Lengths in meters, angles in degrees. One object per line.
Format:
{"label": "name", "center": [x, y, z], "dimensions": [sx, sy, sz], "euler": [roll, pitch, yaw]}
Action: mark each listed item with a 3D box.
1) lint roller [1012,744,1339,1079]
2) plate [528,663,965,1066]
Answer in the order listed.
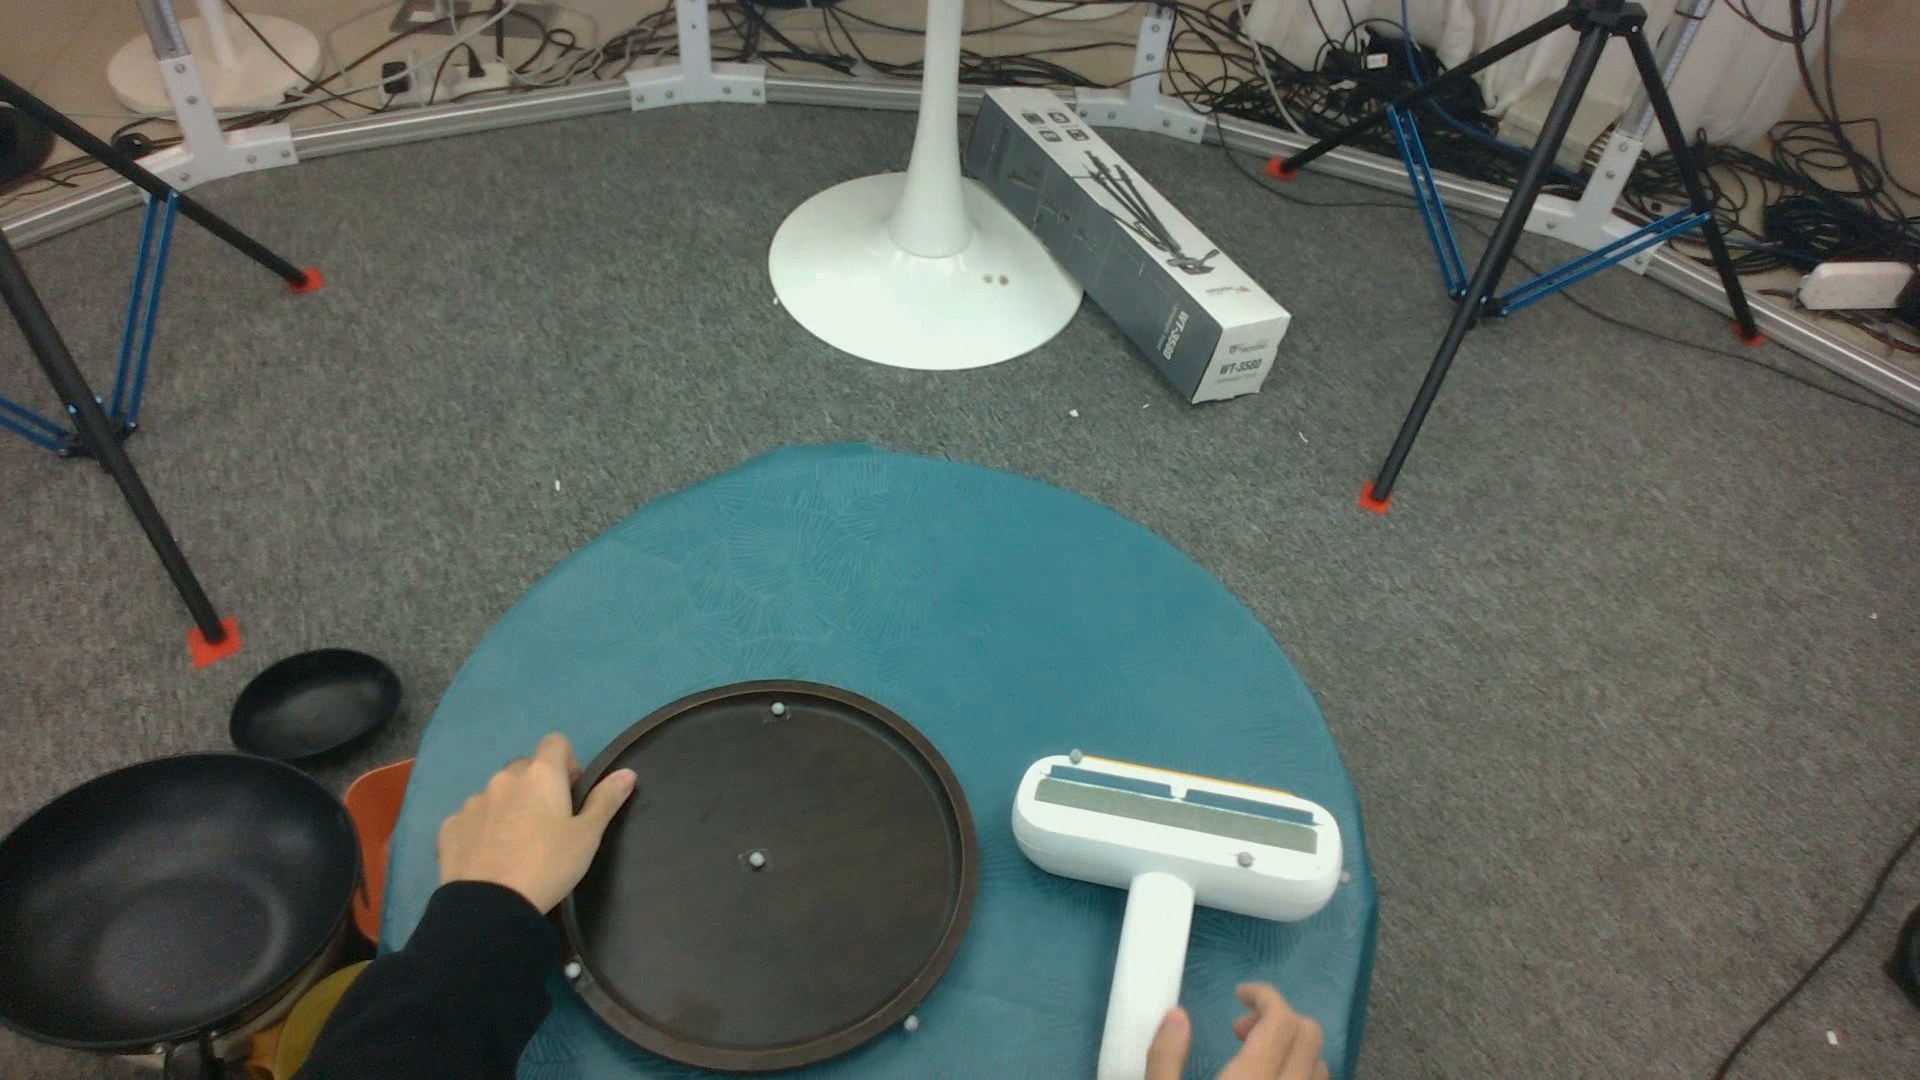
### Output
{"label": "lint roller", "center": [0.107, 0.217, 0.787], "dimensions": [0.193, 0.074, 0.193], "euler": [14, 50, 12]}
{"label": "plate", "center": [-0.123, 0.185, 0.816], "dimensions": [0.255, 0.029, 0.256], "euler": [3, 49, -4]}
